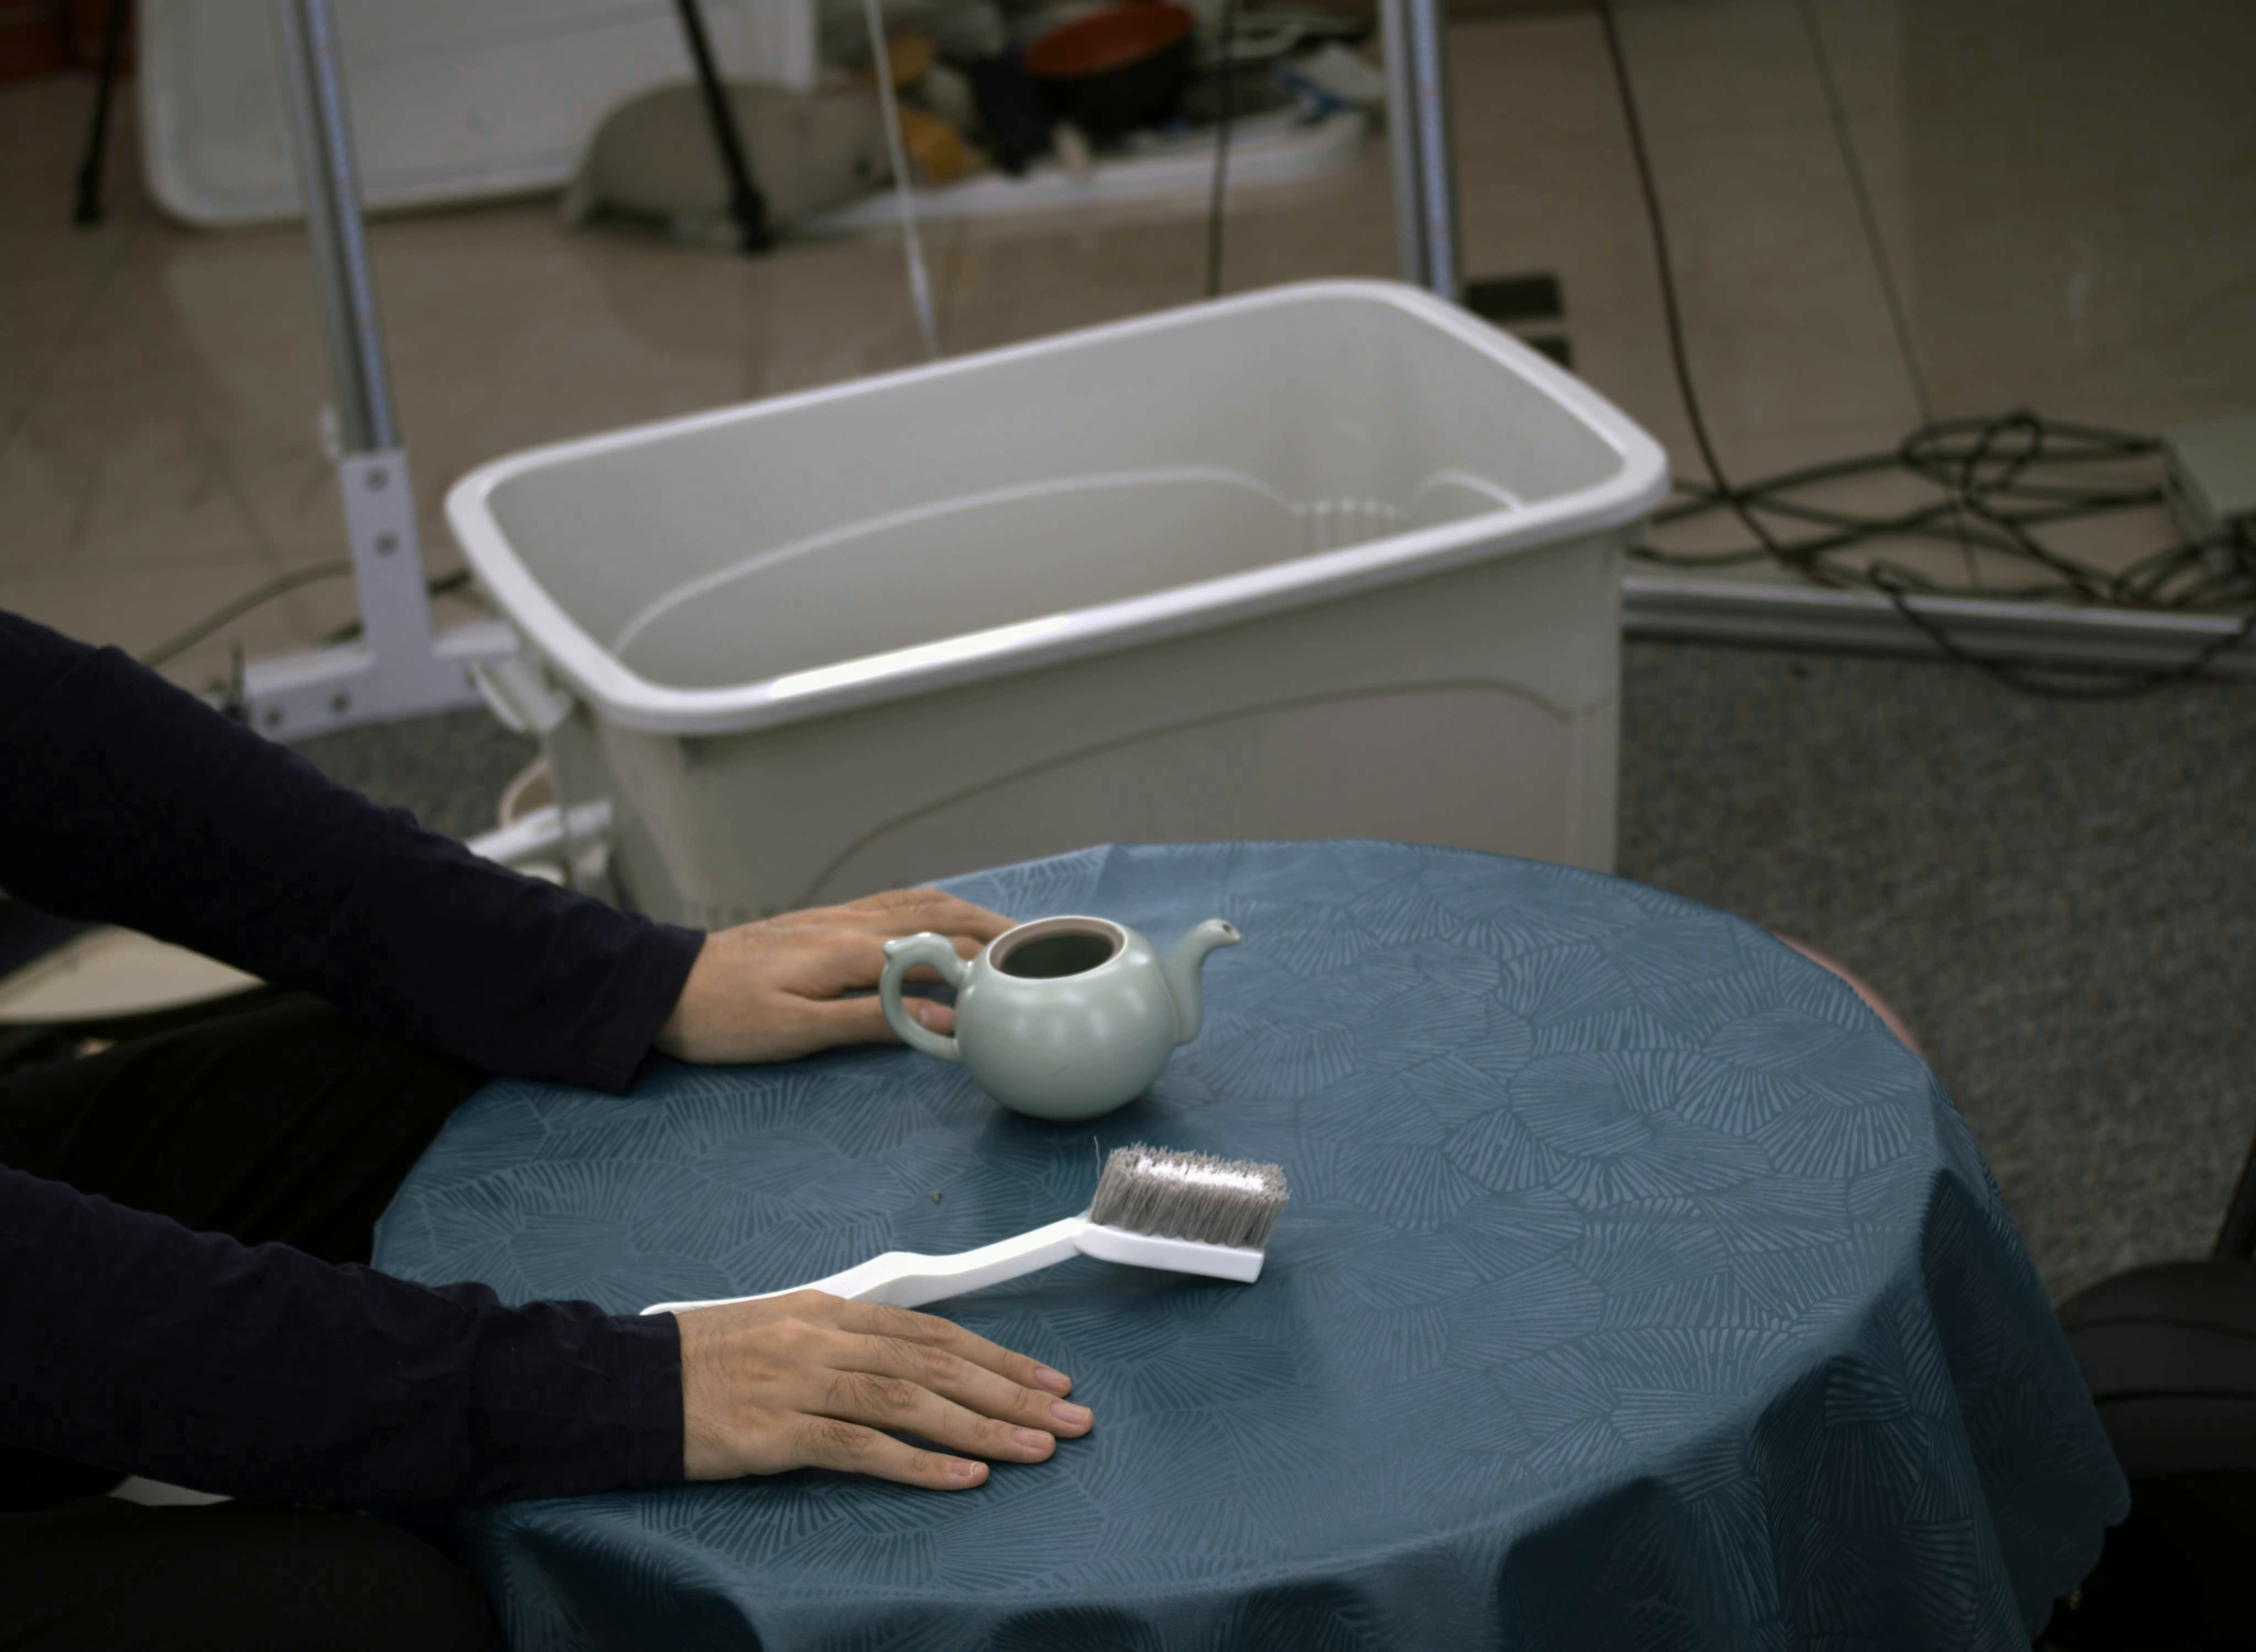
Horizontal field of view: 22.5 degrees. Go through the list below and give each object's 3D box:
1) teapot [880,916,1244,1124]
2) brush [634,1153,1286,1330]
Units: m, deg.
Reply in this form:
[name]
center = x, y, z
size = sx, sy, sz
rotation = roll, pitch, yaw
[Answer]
[teapot]
center = -0.024, 0.074, 2.207
size = 0.143, 0.076, 0.087
rotation = -2, 27, 7
[brush]
center = -0.063, 0.152, 2.078
size = 0.243, 0.051, 0.034
rotation = -5, 30, 2
